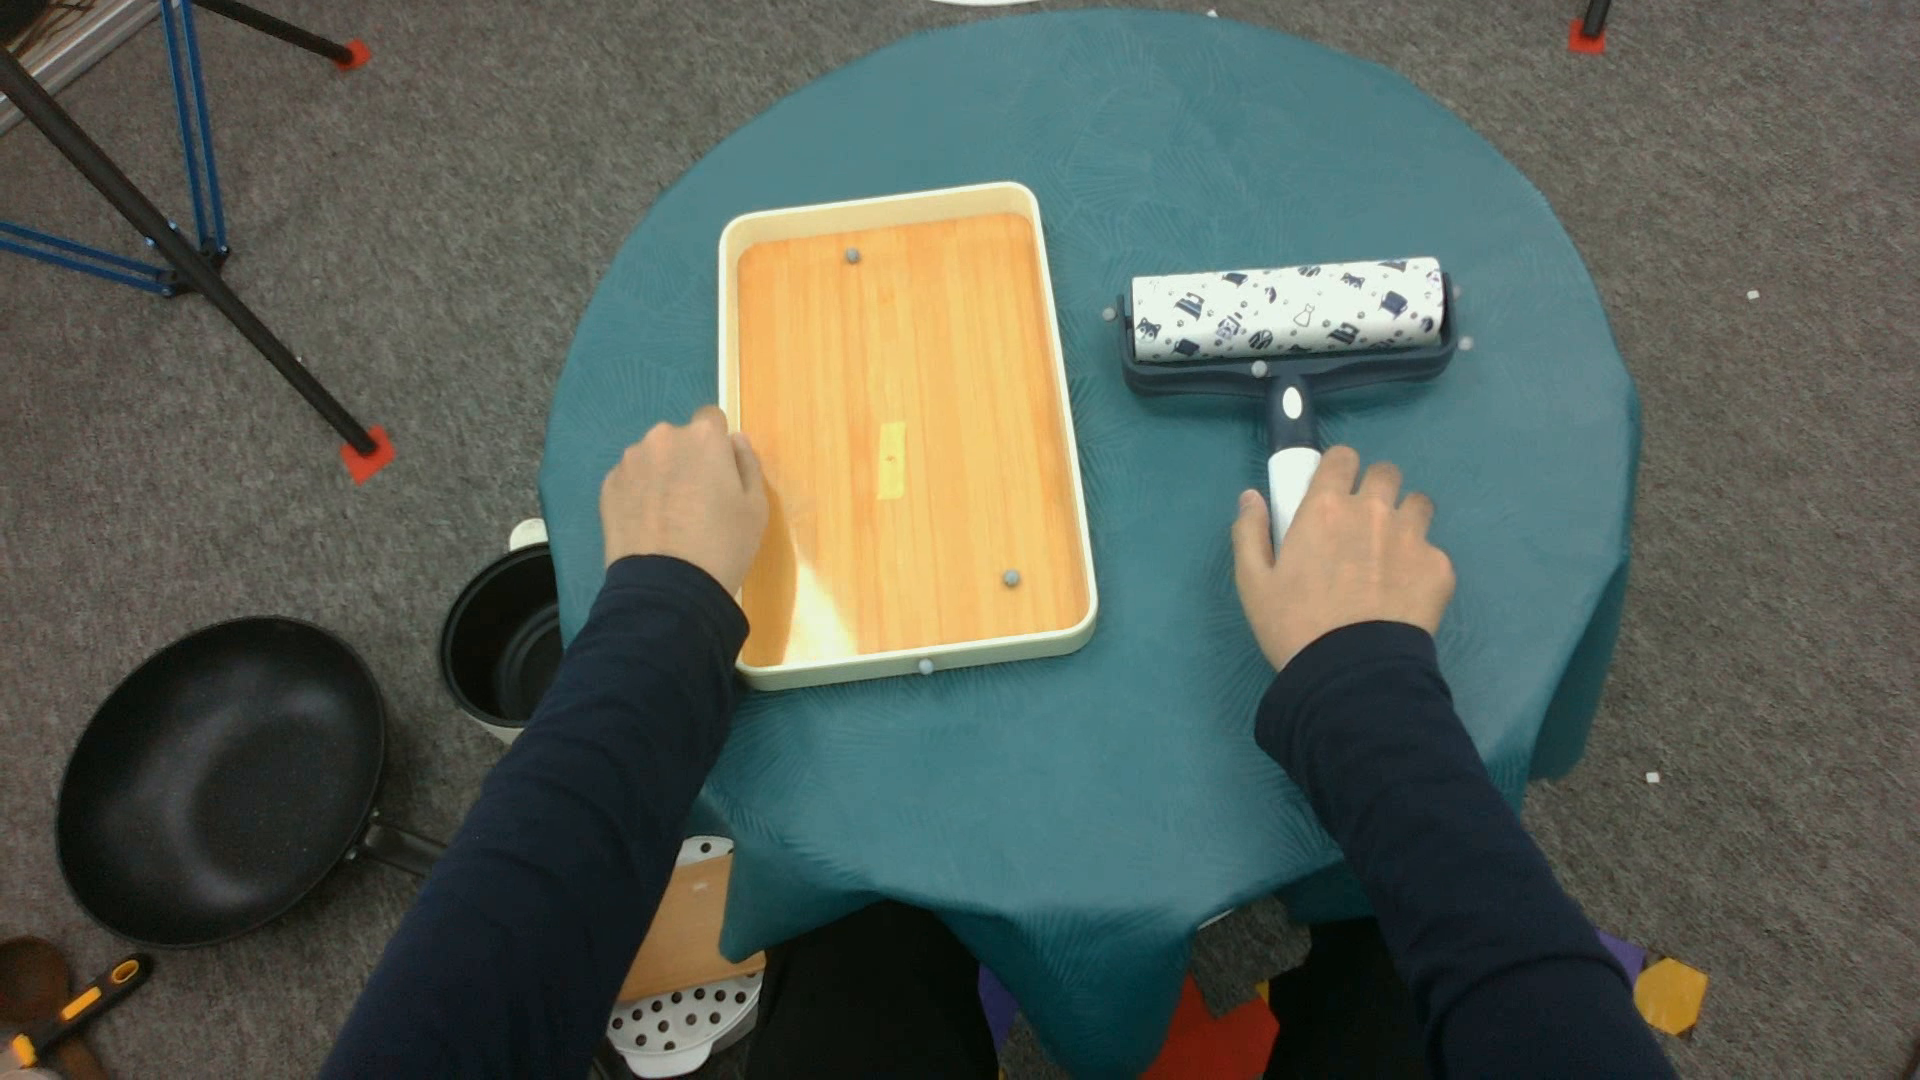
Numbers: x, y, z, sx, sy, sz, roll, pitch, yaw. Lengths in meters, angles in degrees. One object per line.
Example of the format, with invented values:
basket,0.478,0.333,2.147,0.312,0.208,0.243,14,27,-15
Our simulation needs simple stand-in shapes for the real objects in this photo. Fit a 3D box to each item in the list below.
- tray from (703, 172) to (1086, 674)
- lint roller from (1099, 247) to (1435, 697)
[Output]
tray,-0.044,-0.076,0.758,0.191,0.027,0.301,-6,61,0
lint roller,0.167,-0.042,0.709,0.176,0.050,0.248,-3,64,5
